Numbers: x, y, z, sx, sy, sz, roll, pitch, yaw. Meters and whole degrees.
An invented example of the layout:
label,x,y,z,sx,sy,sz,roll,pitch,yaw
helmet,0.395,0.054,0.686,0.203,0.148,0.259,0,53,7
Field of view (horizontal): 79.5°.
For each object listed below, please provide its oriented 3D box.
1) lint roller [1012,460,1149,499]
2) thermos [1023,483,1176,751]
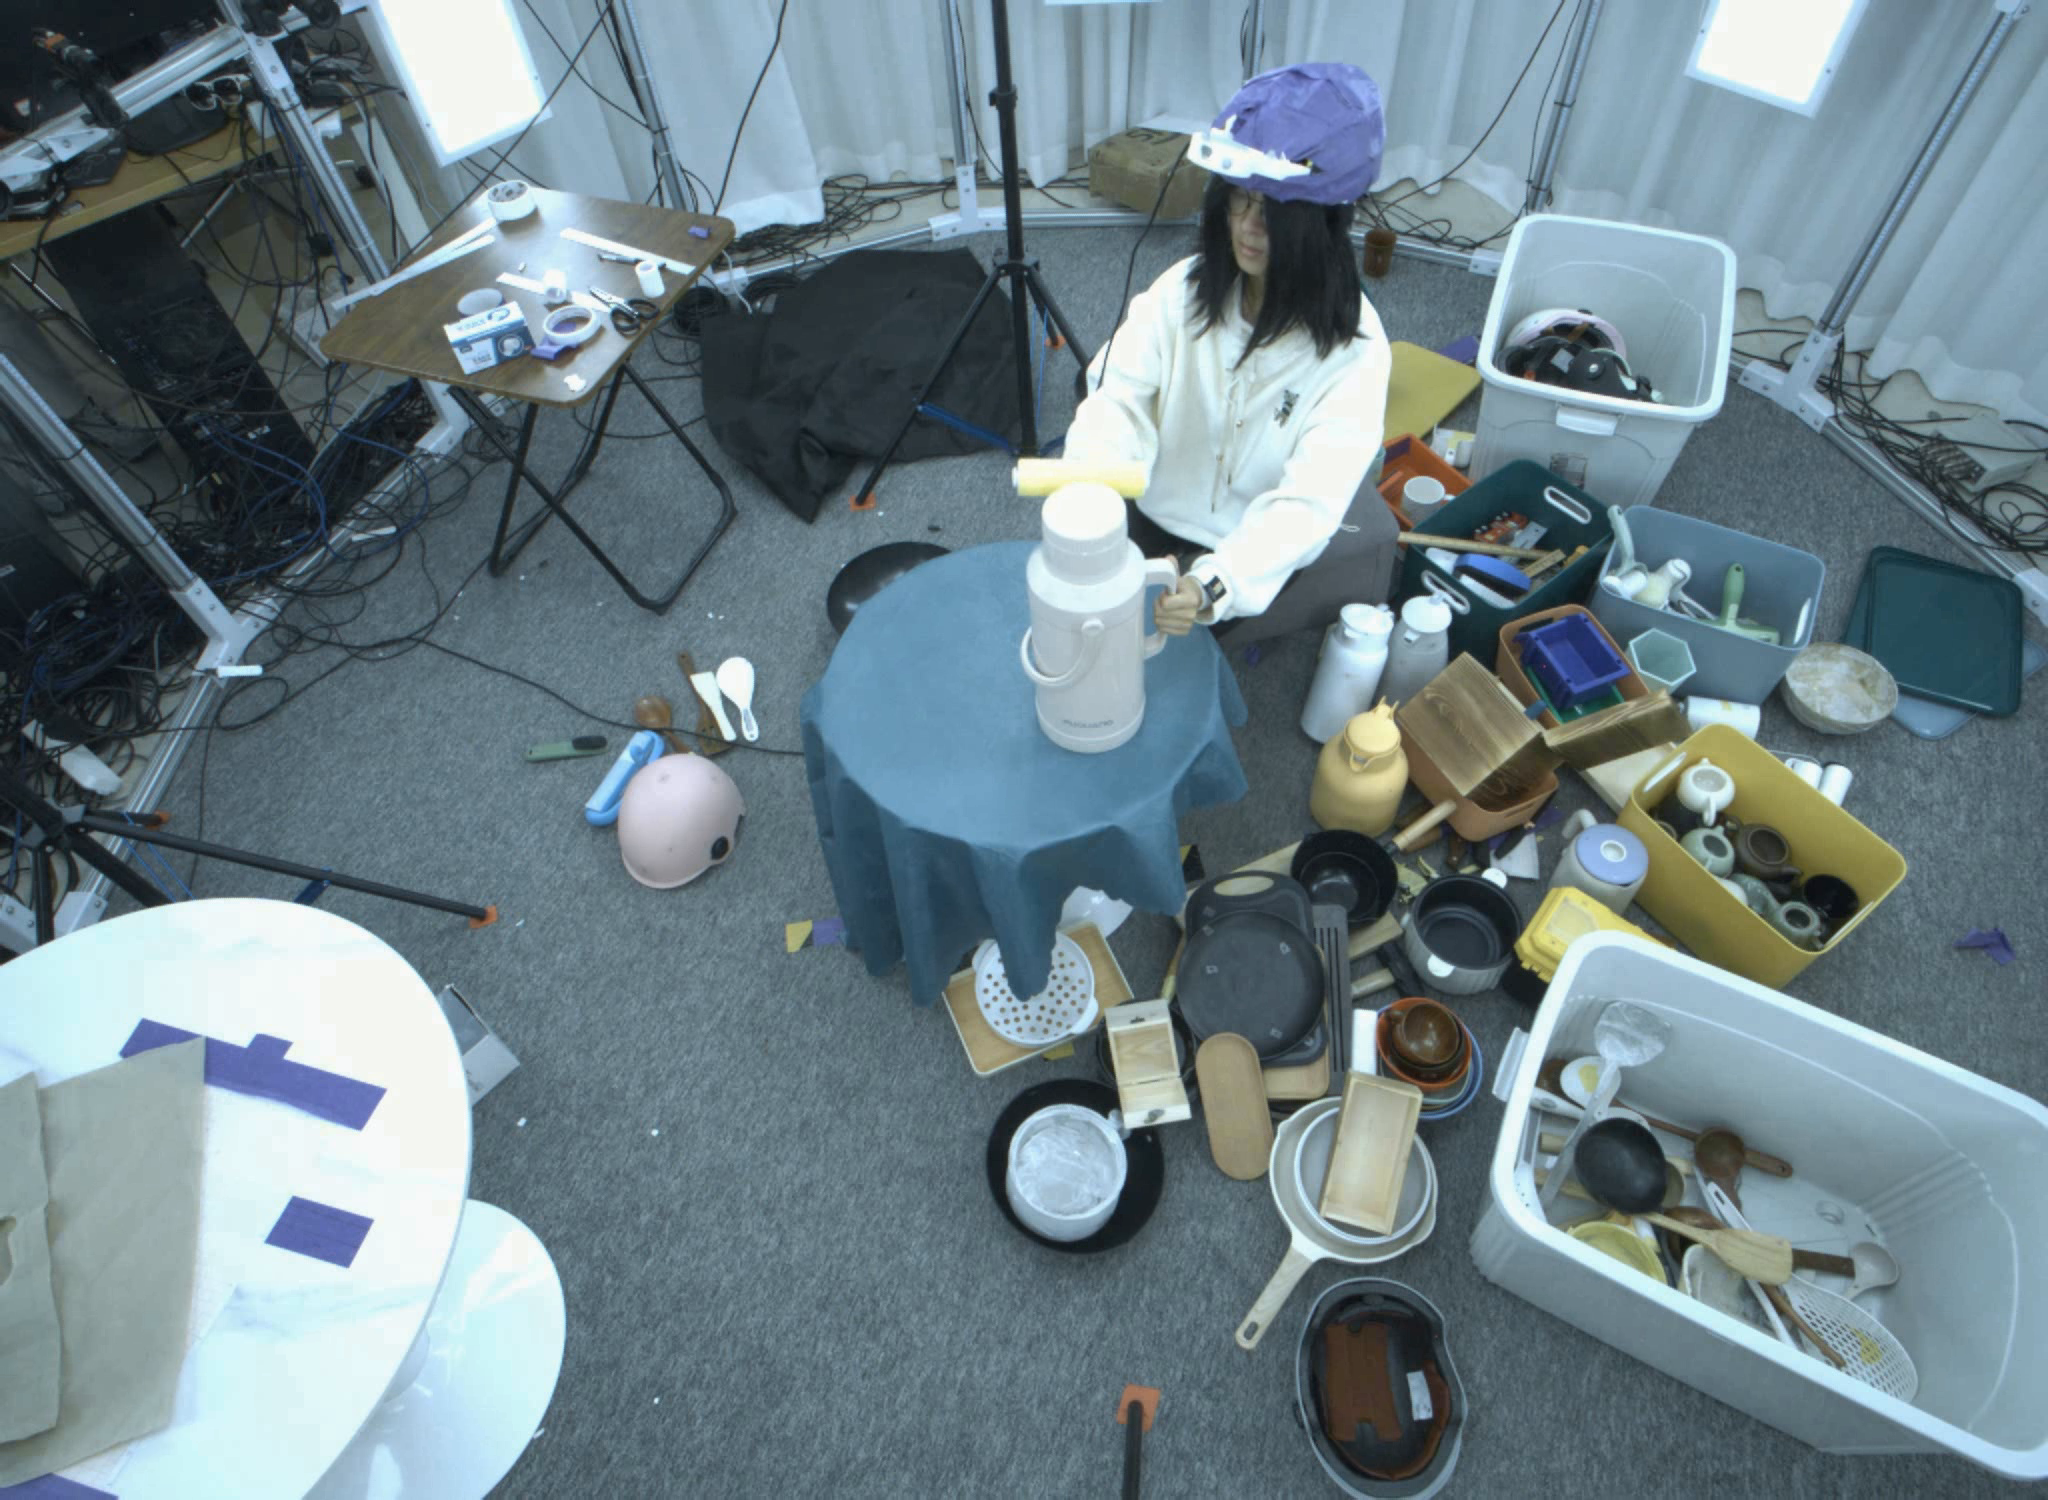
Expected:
label,x,y,z,sx,sy,sz,roll,pitch,yaw
lint roller,0.071,-0.372,1.626,0.174,0.052,0.190,2,23,-1
thermos,0.099,-0.175,1.664,0.207,0.411,0.173,-6,54,0
